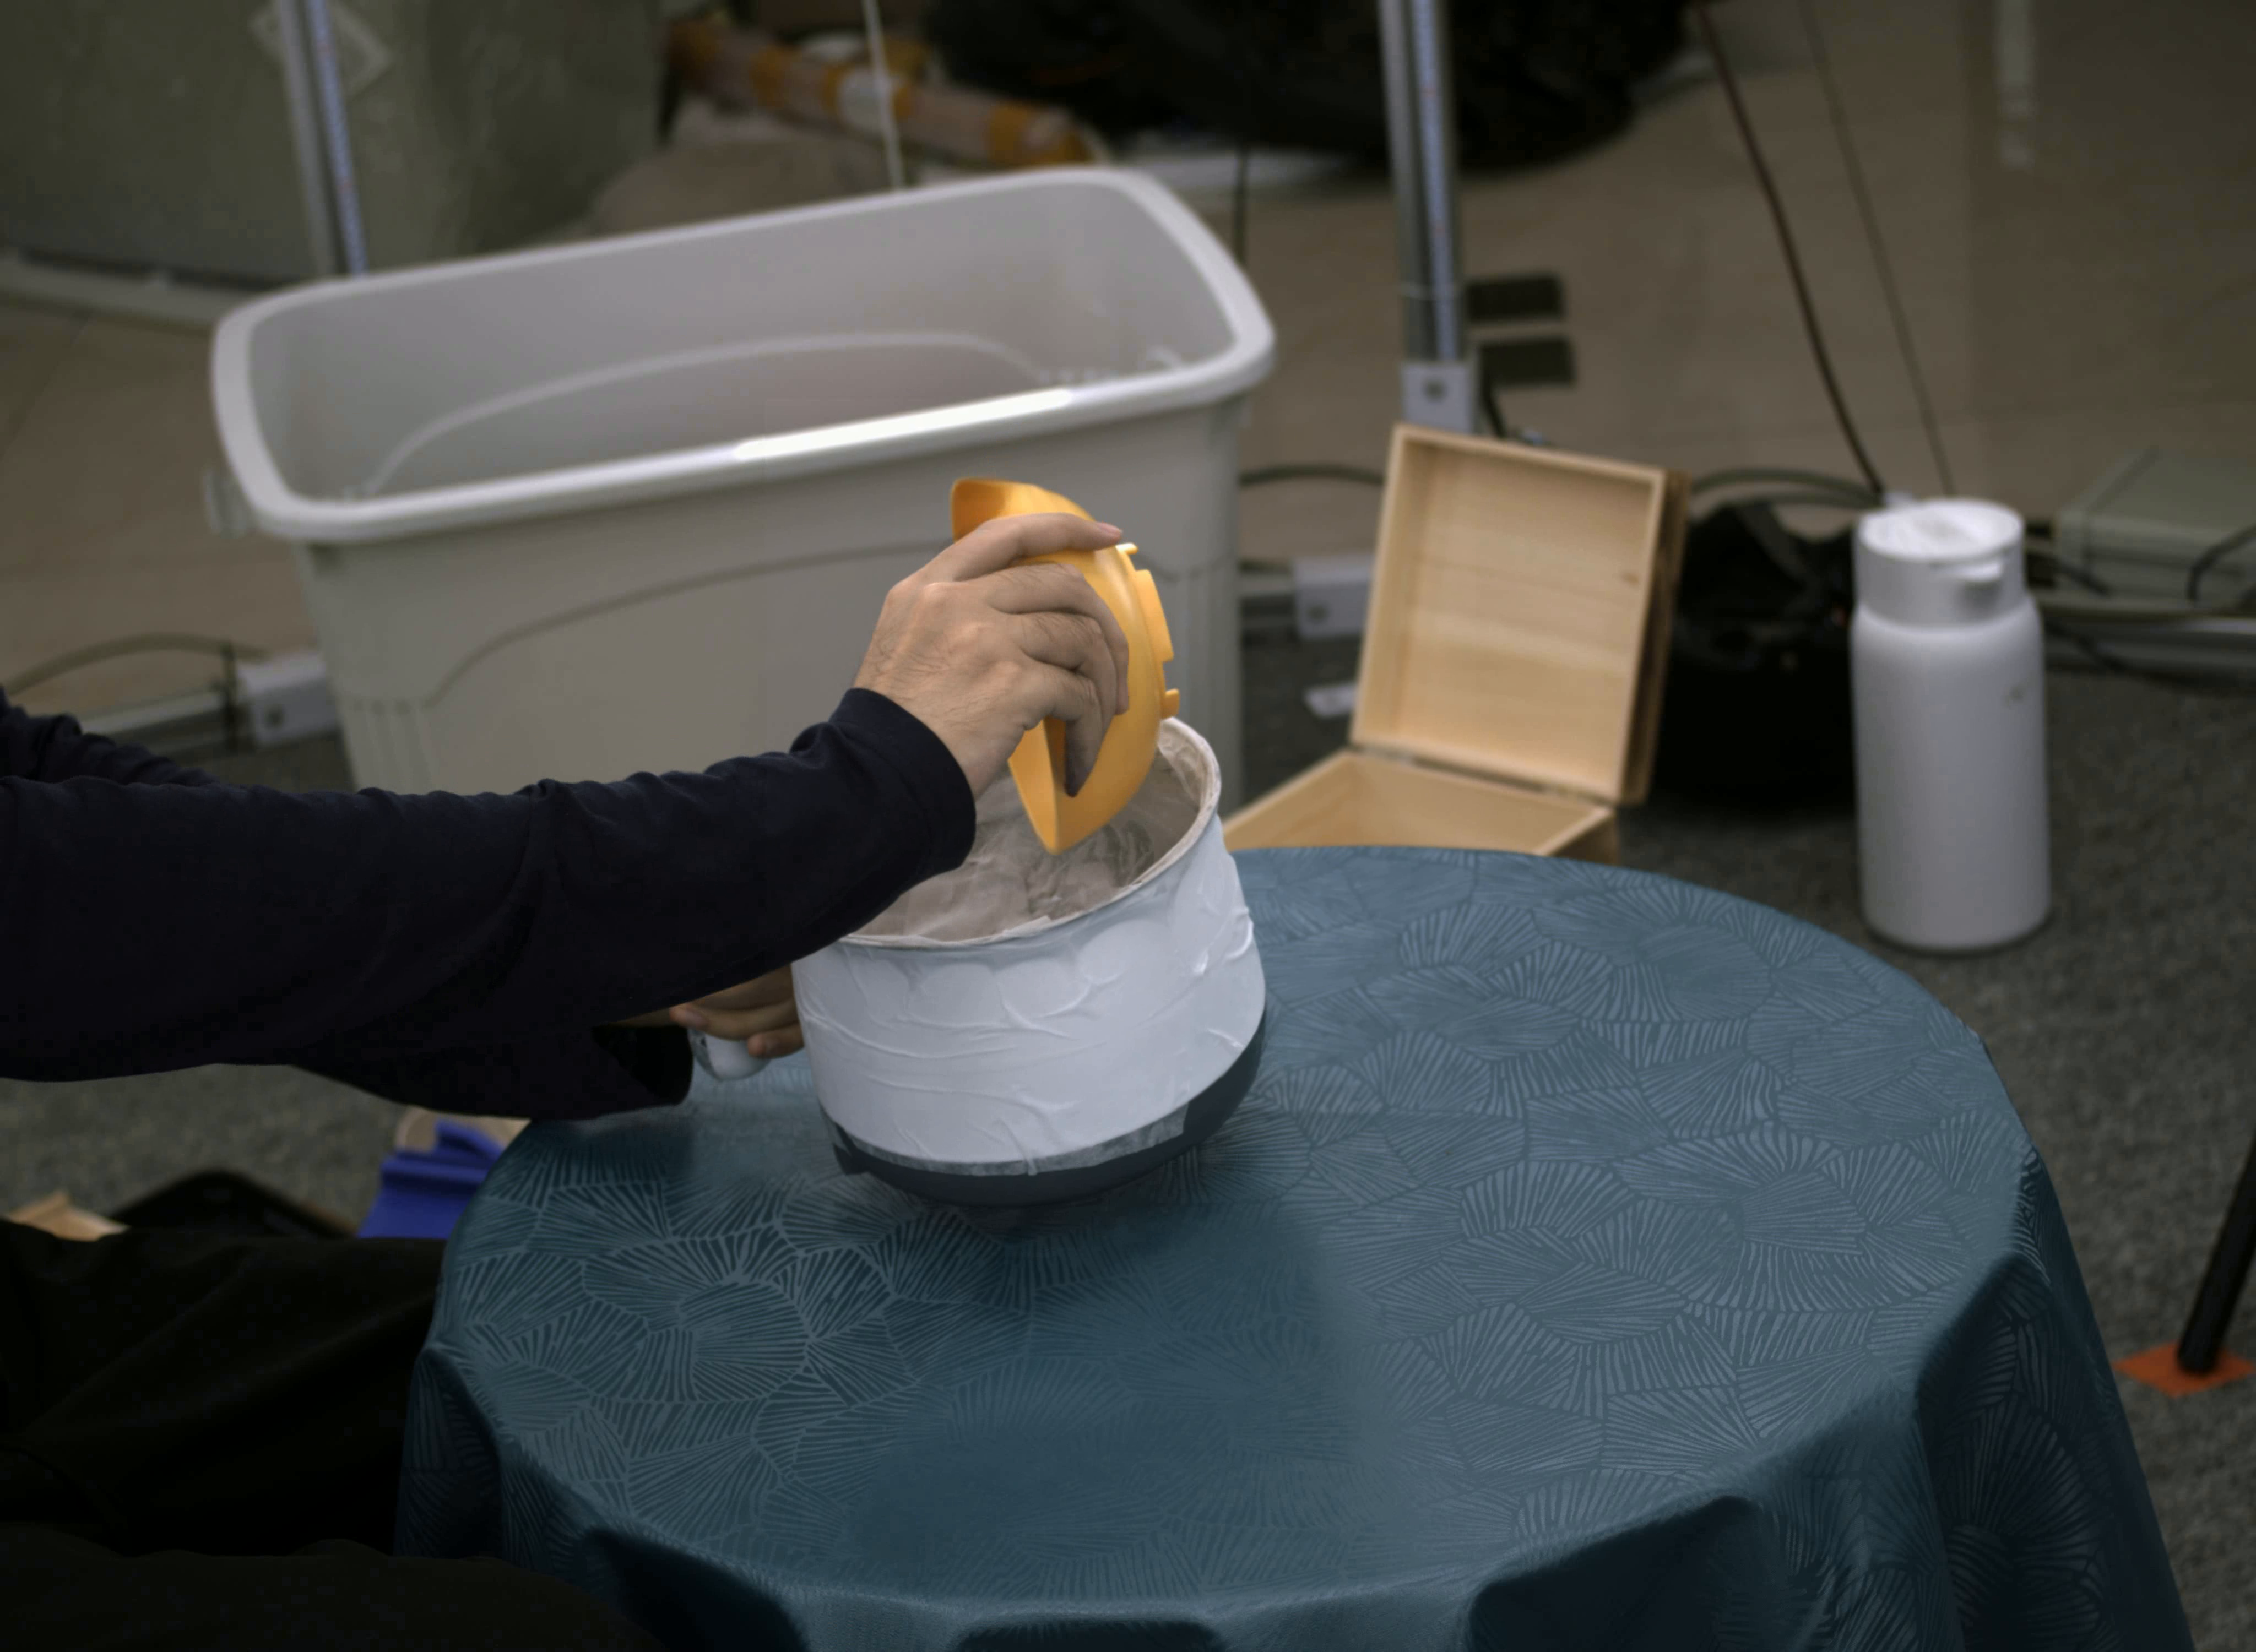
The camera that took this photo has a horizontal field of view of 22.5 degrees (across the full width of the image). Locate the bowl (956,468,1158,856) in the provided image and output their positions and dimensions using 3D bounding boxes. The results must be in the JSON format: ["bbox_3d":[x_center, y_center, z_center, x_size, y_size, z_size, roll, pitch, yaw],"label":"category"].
[{"bbox_3d":[-0.023,-0.065,2.092,0.060,0.147,0.143,-9,25,-6],"label":"bowl"}]

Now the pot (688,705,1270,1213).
[{"bbox_3d":[-0.065,0.053,2.159,0.233,0.139,0.176,-1,33,21],"label":"pot"}]
